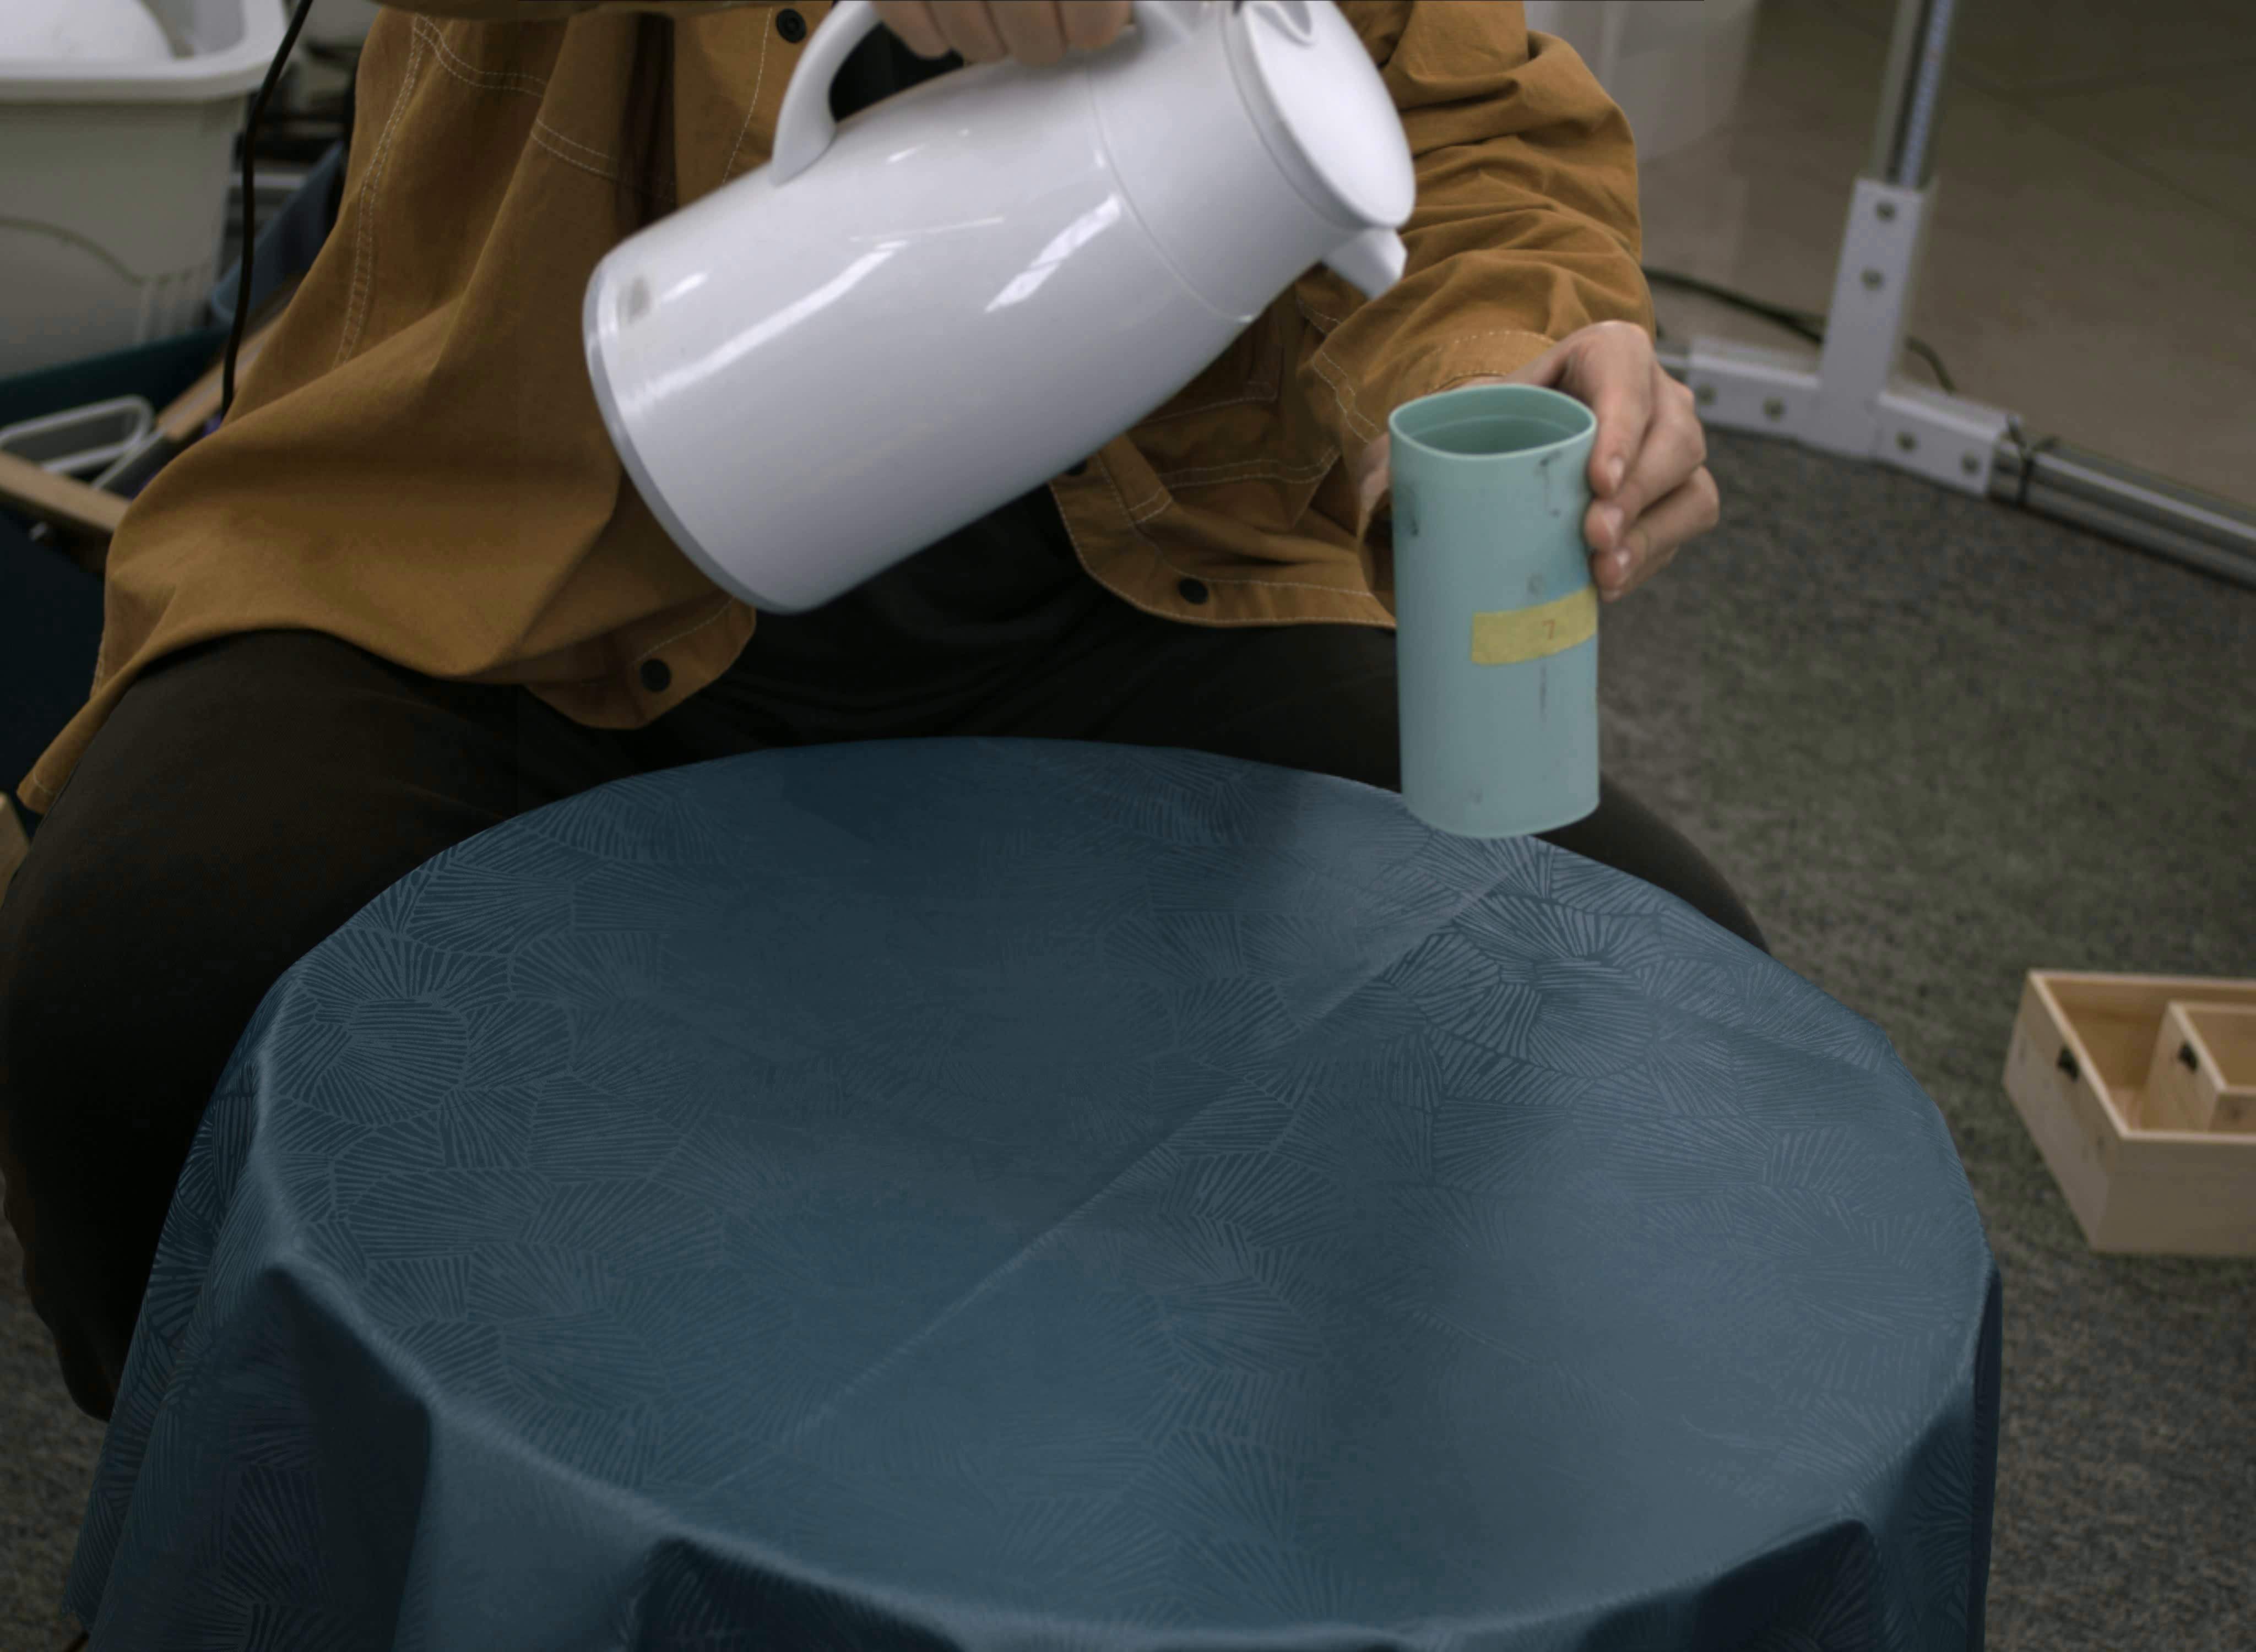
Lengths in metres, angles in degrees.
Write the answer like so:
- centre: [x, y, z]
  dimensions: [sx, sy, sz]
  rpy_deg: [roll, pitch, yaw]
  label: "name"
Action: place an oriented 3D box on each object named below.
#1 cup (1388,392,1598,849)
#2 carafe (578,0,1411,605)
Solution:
- centre: [0.116, -0.066, 1.691]
  dimensions: [0.066, 0.132, 0.067]
  rpy_deg: [-3, 24, 1]
  label: "cup"
- centre: [-0.046, -0.191, 1.649]
  dimensions: [0.249, 0.166, 0.133]
  rpy_deg: [-26, 25, 25]
  label: "carafe"
